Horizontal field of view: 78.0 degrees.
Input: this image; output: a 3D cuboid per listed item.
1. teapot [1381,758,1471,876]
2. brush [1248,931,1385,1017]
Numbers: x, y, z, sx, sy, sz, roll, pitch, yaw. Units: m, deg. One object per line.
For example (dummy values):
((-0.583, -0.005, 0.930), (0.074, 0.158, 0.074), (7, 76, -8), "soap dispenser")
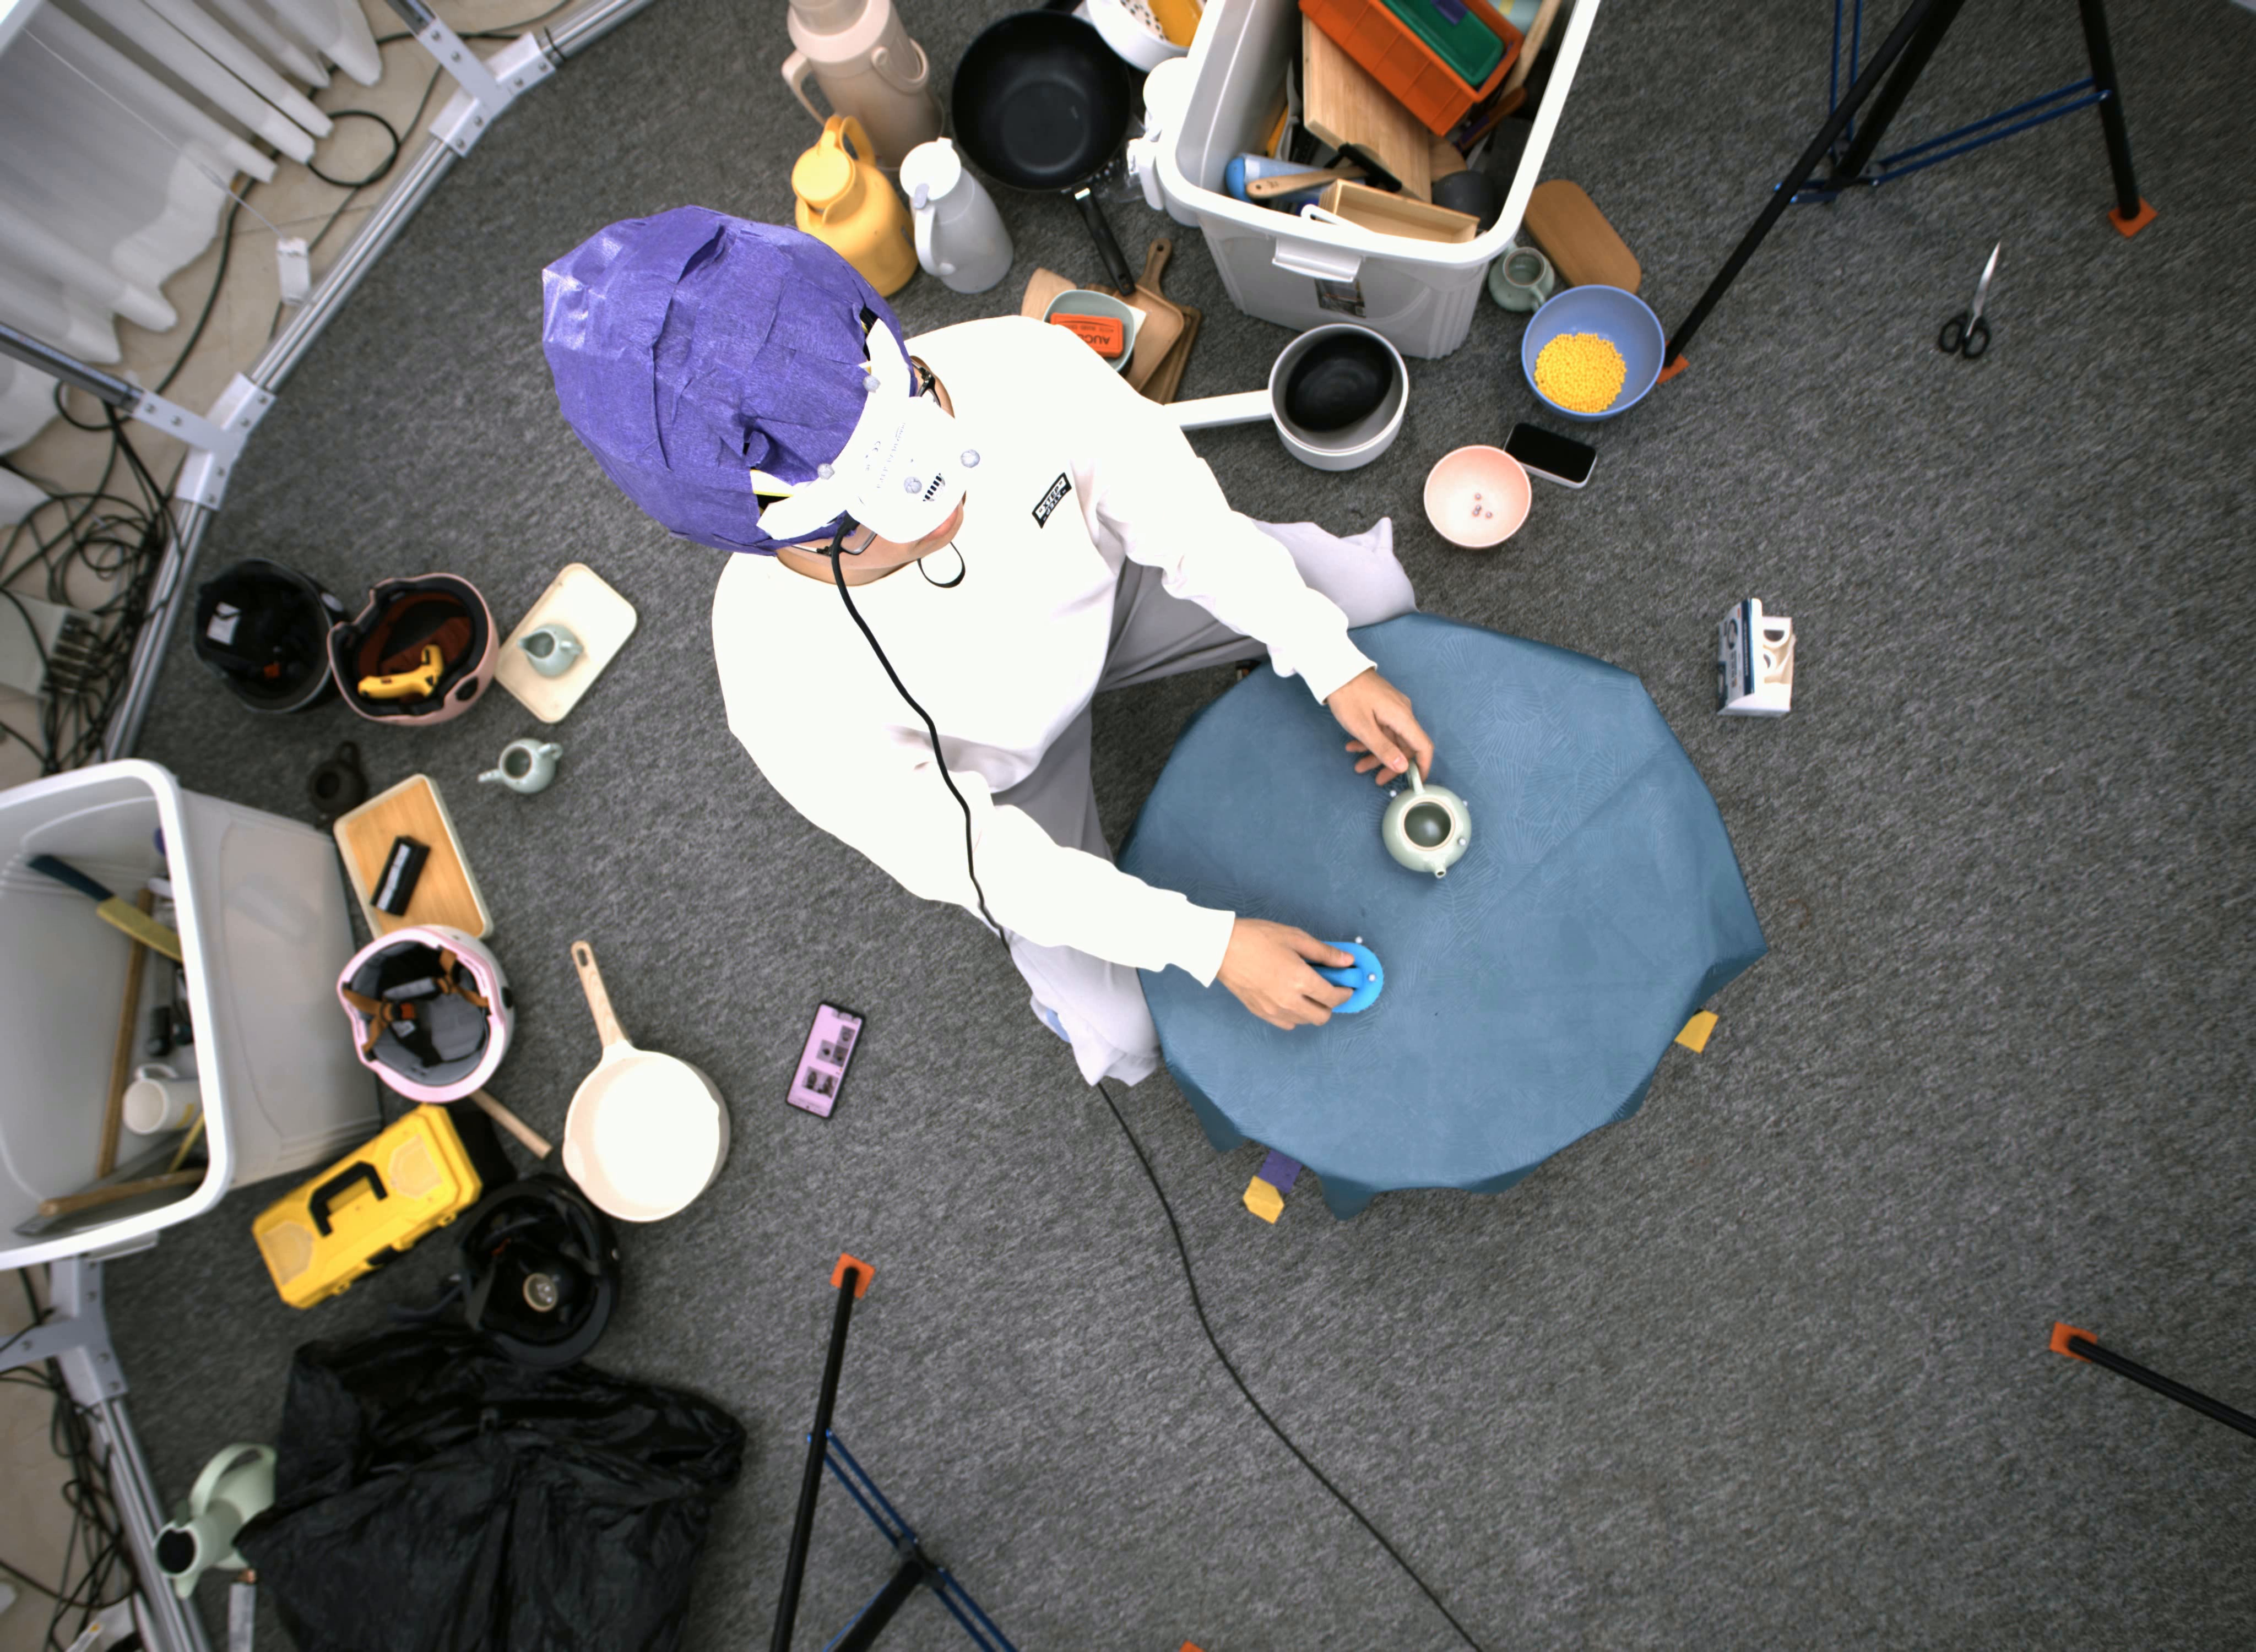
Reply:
((0.307, -0.010, 1.427), (0.092, 0.061, 0.127), (-10, 83, 12), "teapot")
((0.194, 0.153, 1.437), (0.142, 0.063, 0.084), (4, 92, 12), "brush")
